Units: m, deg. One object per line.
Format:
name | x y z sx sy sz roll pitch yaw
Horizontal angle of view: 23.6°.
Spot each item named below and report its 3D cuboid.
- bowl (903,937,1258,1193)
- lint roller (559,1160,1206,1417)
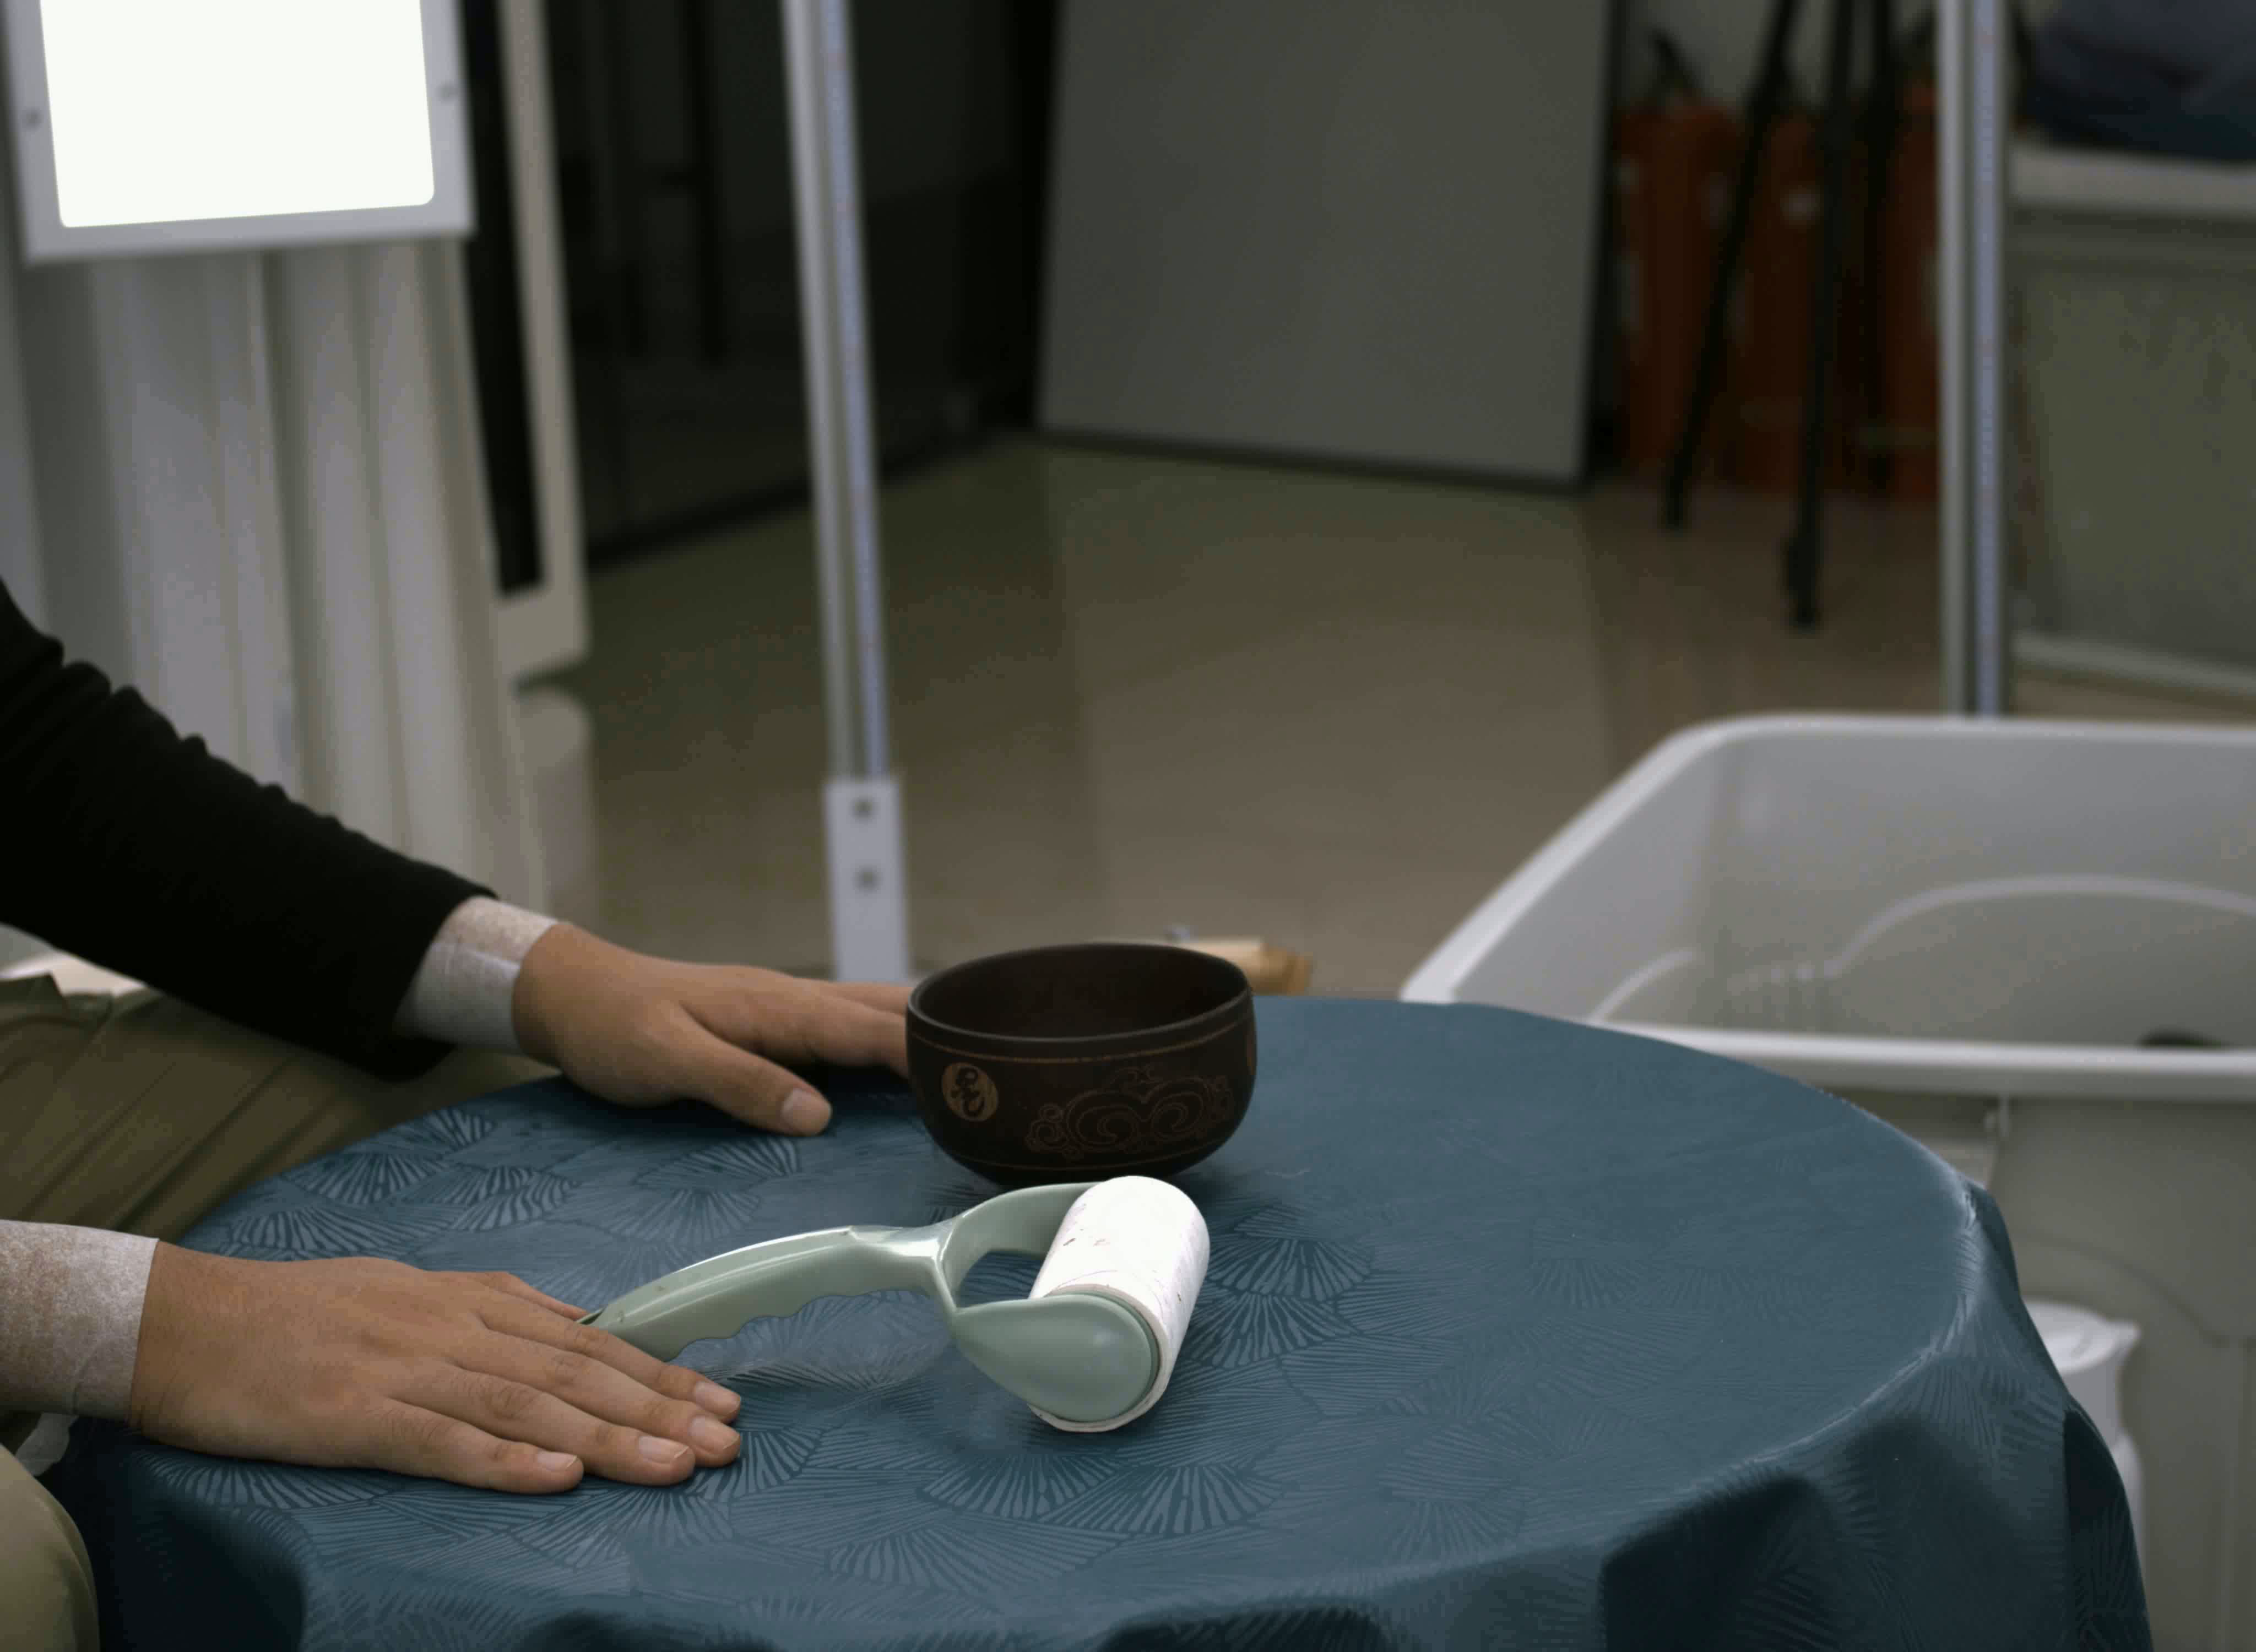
bowl | -0.014 0.086 1.769 0.116 0.070 0.118 -5 15 0
lint roller | -0.075 0.142 1.614 0.196 0.049 0.116 -4 14 10
